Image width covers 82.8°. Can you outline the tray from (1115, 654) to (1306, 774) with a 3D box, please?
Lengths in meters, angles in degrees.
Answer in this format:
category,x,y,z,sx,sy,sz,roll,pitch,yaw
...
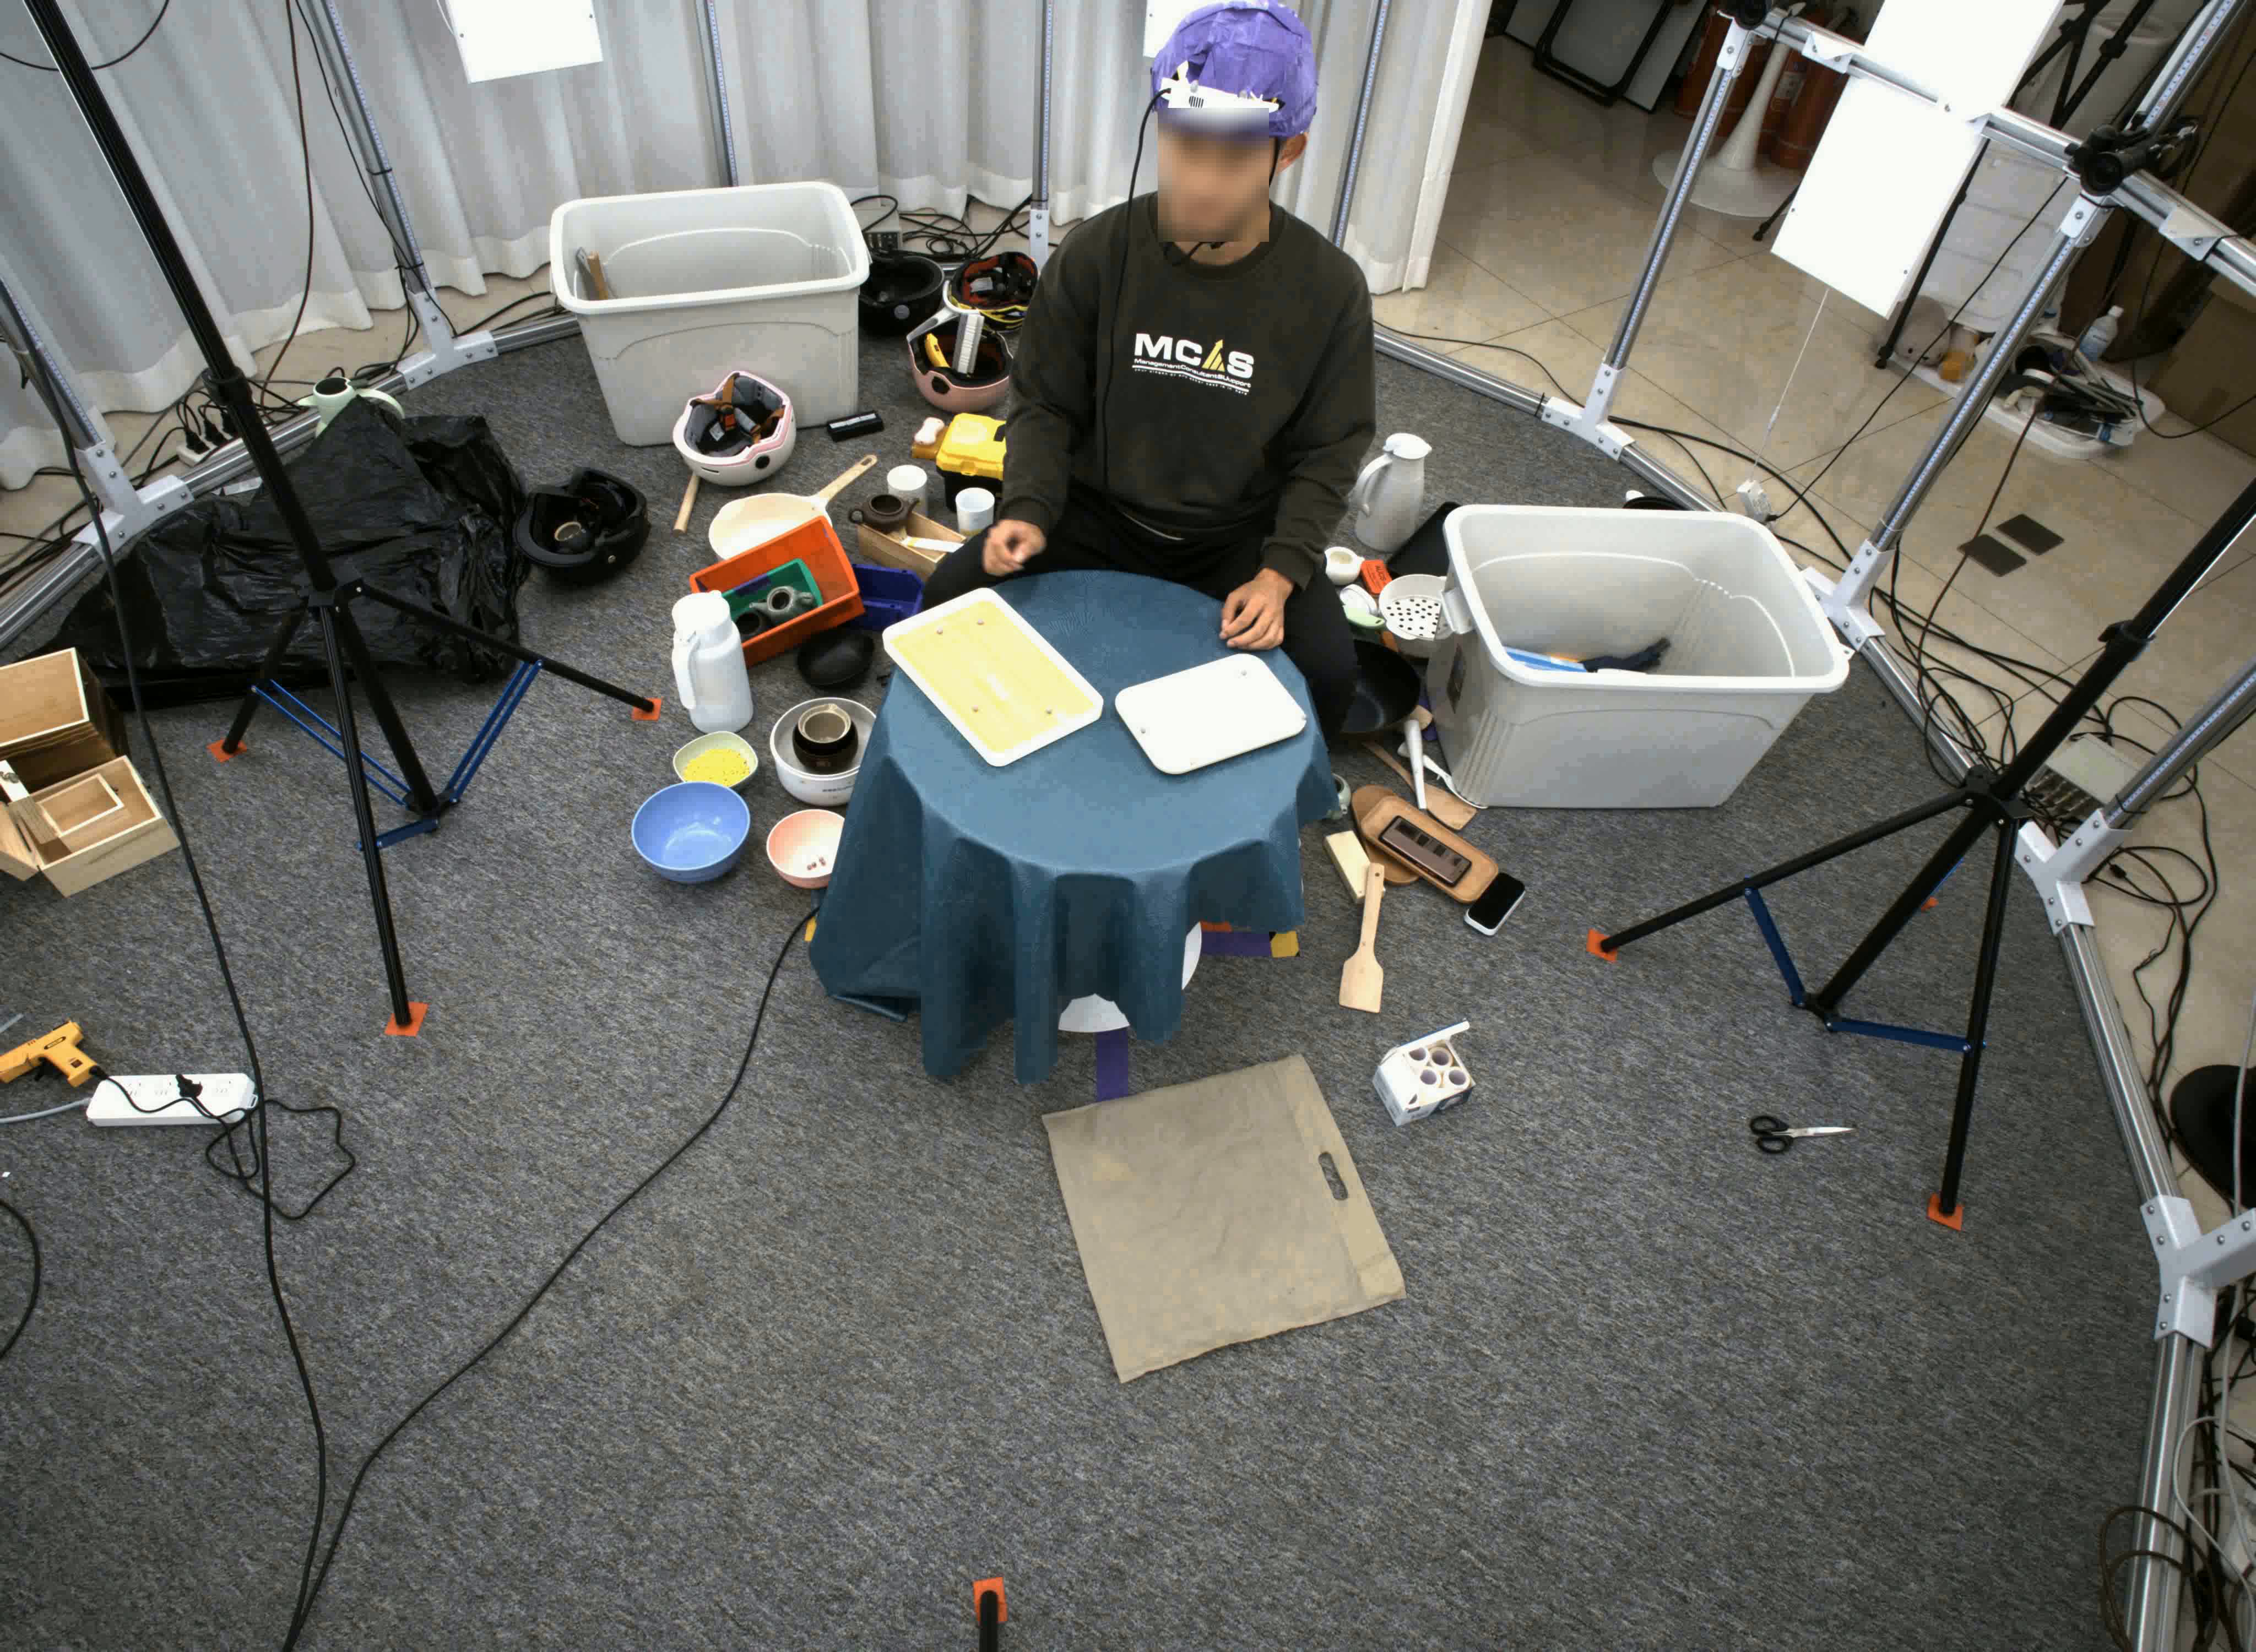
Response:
category,x,y,z,sx,sy,sz,roll,pitch,yaw
tray,0.115,-0.158,1.799,0.240,0.017,0.175,-19,52,-20

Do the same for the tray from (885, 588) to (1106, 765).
category,x,y,z,sx,sy,sz,roll,pitch,yaw
tray,-0.190,-0.218,1.822,0.192,0.027,0.306,-28,56,-26
